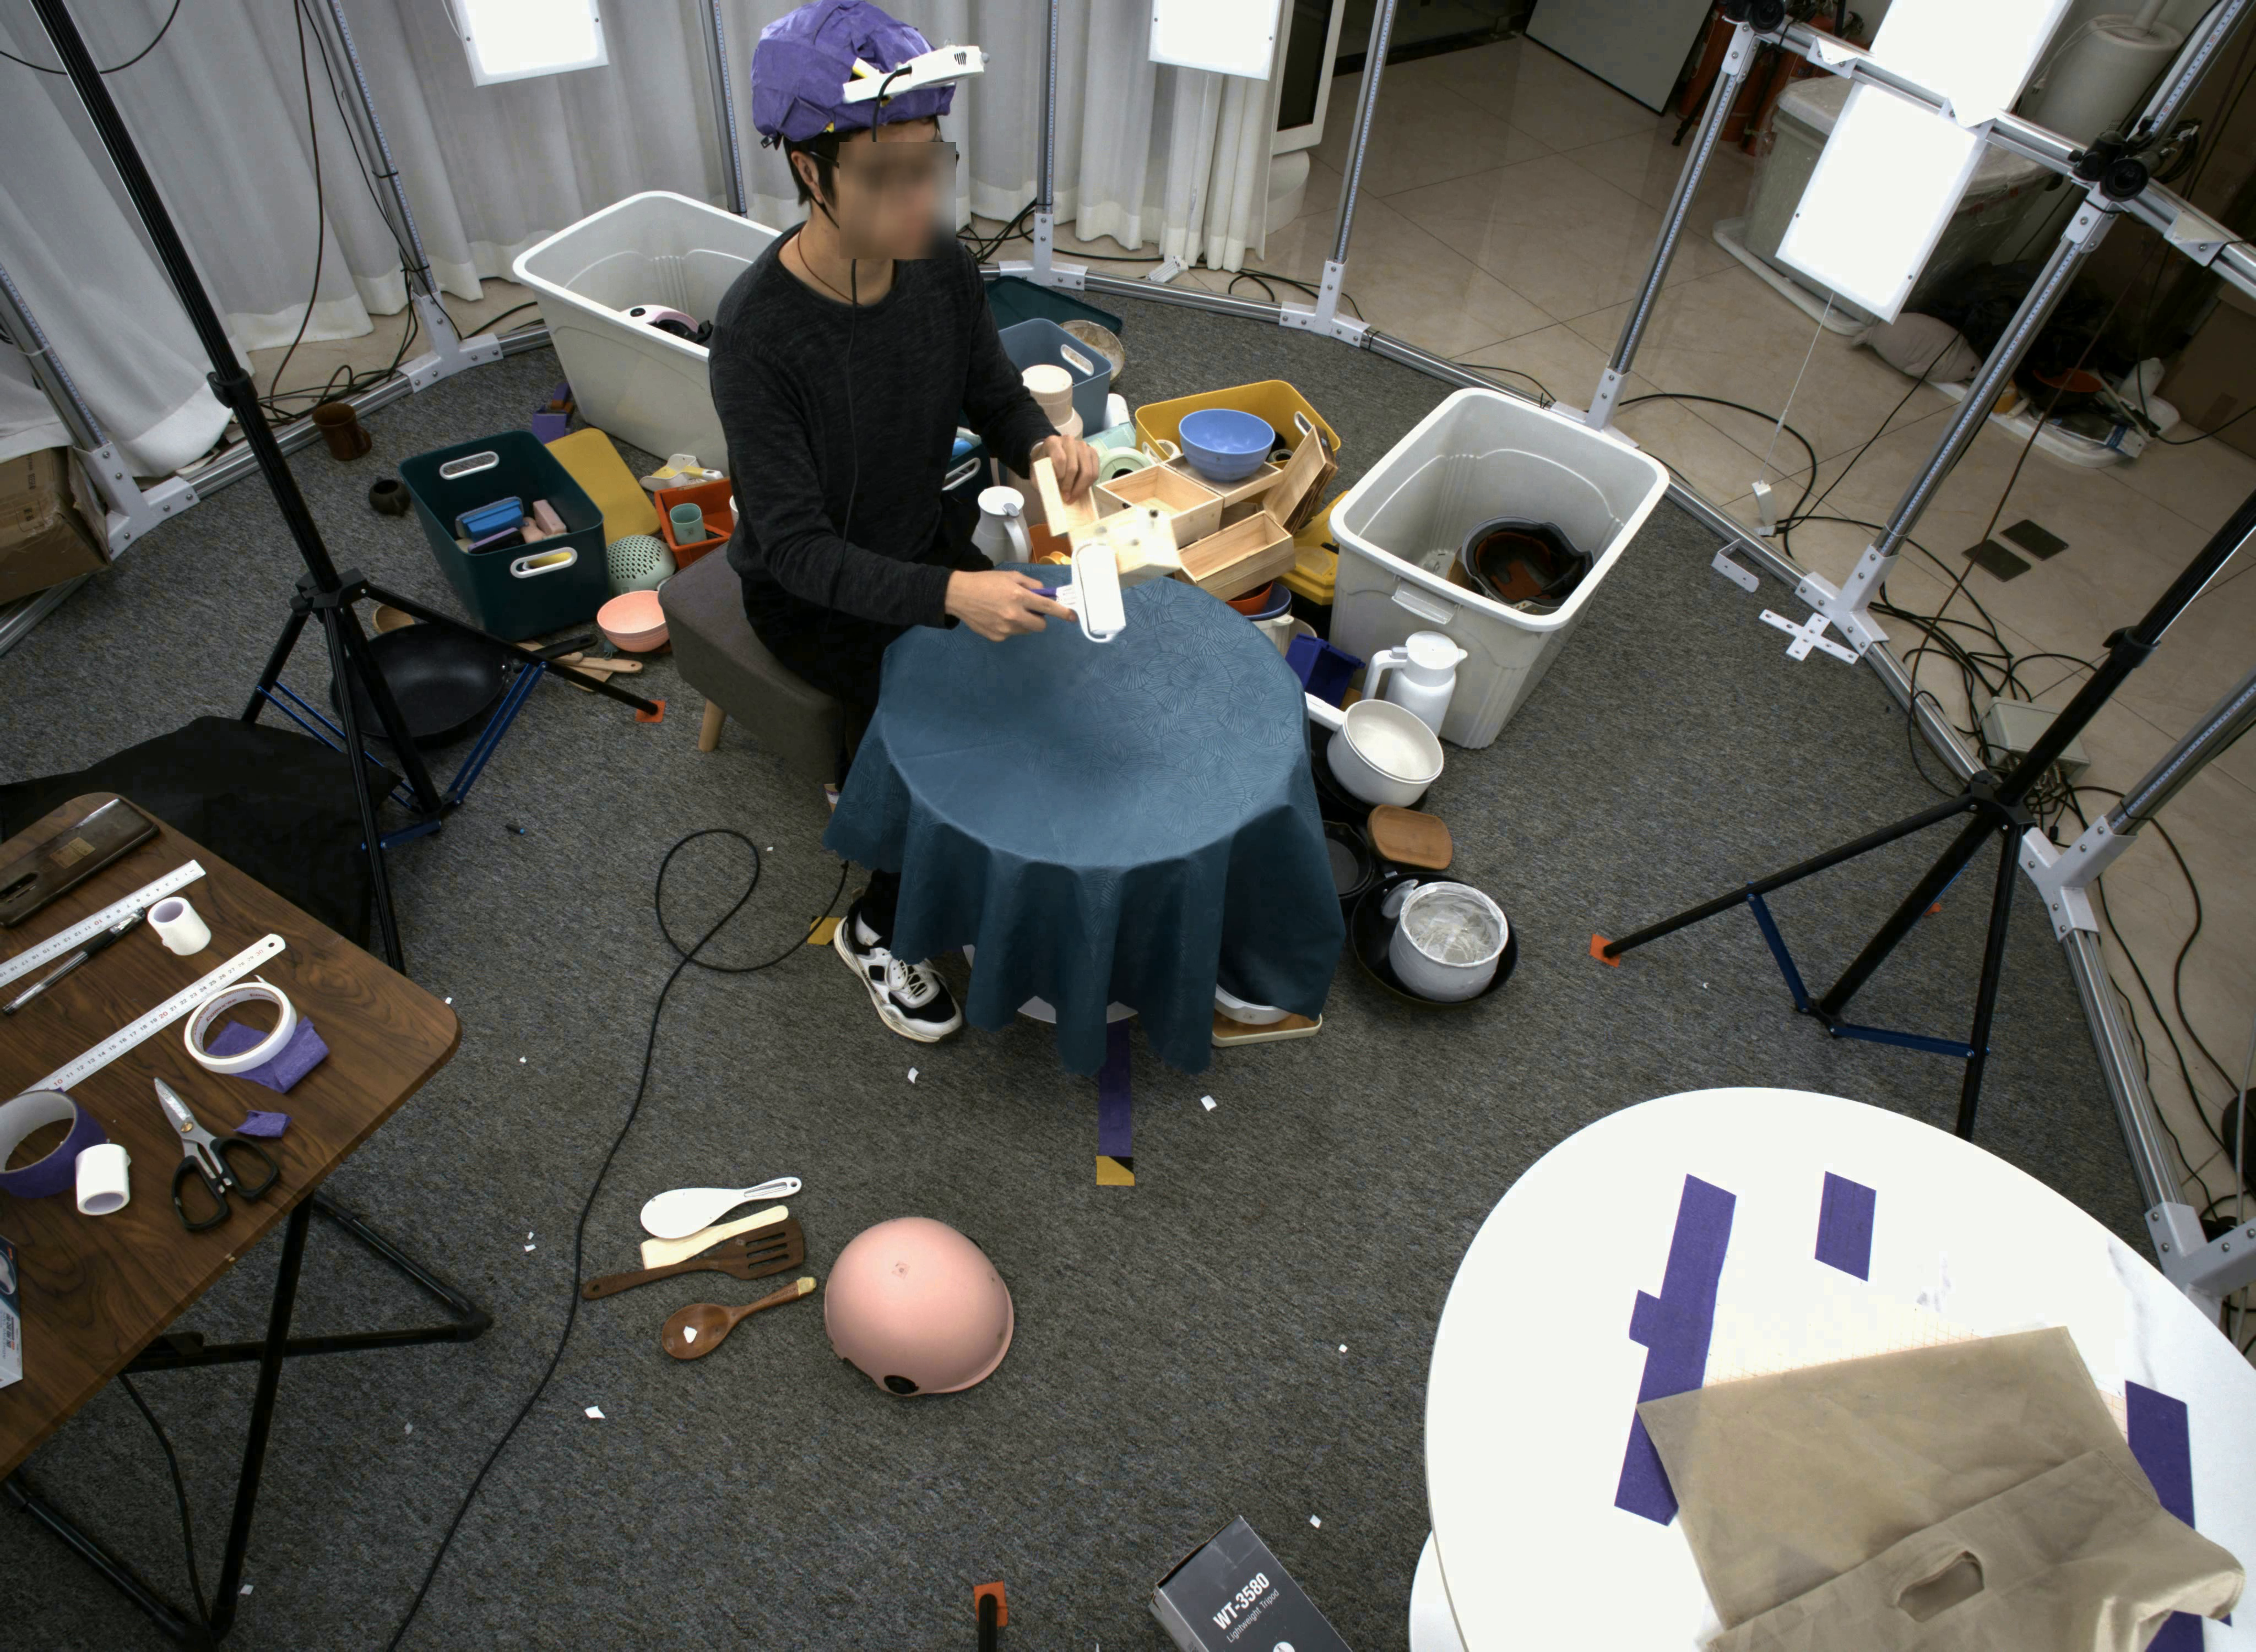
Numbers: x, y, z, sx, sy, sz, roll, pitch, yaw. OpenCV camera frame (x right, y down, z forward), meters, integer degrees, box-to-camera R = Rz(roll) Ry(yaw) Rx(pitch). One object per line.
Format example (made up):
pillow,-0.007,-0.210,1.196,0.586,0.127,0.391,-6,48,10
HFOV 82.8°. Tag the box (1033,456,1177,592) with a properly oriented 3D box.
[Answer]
box,-0.028,-0.410,1.705,0.133,0.185,0.102,-15,-3,29

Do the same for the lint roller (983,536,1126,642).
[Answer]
lint roller,-0.098,-0.292,1.634,0.181,0.050,0.133,-7,90,2
